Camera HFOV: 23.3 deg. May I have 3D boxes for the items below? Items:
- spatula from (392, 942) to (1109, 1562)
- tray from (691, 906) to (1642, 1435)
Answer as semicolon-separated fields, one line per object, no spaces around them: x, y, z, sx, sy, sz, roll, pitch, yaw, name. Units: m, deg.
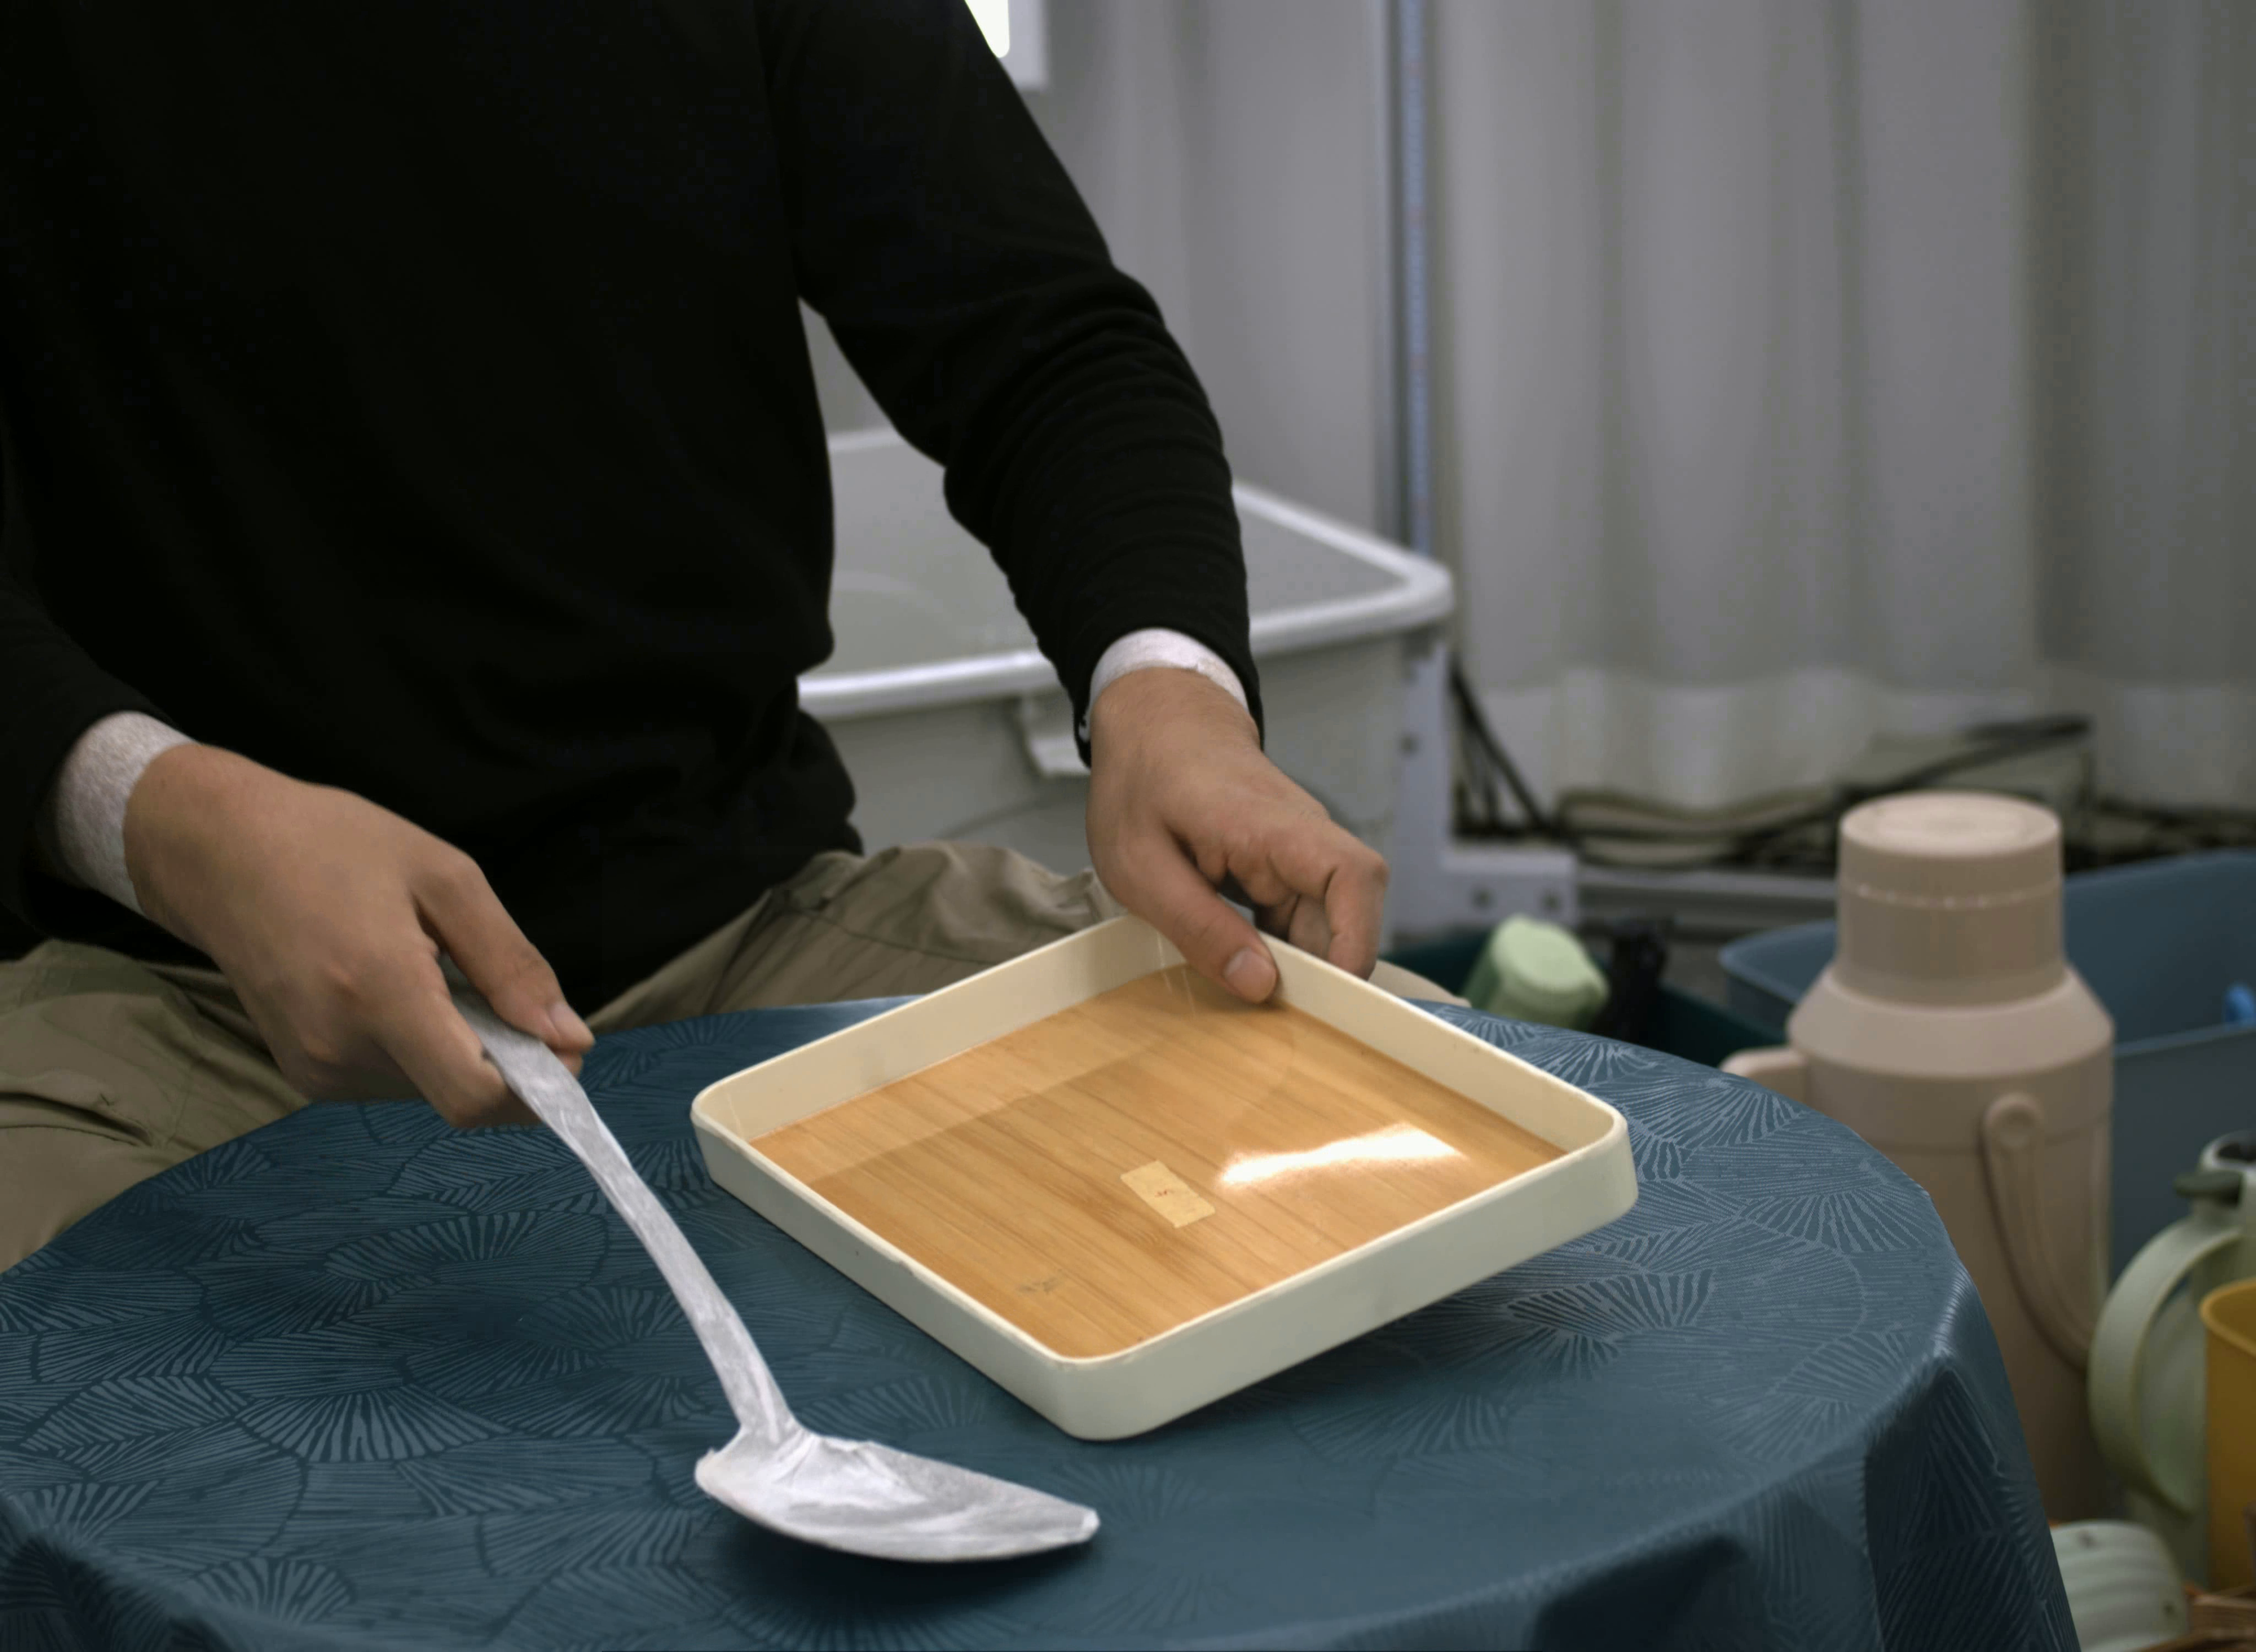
-0.130;0.110;1.535;0.098;0.044;0.370;0;30;-34;spatula
0.005;0.098;1.657;0.191;0.027;0.302;-21;21;-21;tray
